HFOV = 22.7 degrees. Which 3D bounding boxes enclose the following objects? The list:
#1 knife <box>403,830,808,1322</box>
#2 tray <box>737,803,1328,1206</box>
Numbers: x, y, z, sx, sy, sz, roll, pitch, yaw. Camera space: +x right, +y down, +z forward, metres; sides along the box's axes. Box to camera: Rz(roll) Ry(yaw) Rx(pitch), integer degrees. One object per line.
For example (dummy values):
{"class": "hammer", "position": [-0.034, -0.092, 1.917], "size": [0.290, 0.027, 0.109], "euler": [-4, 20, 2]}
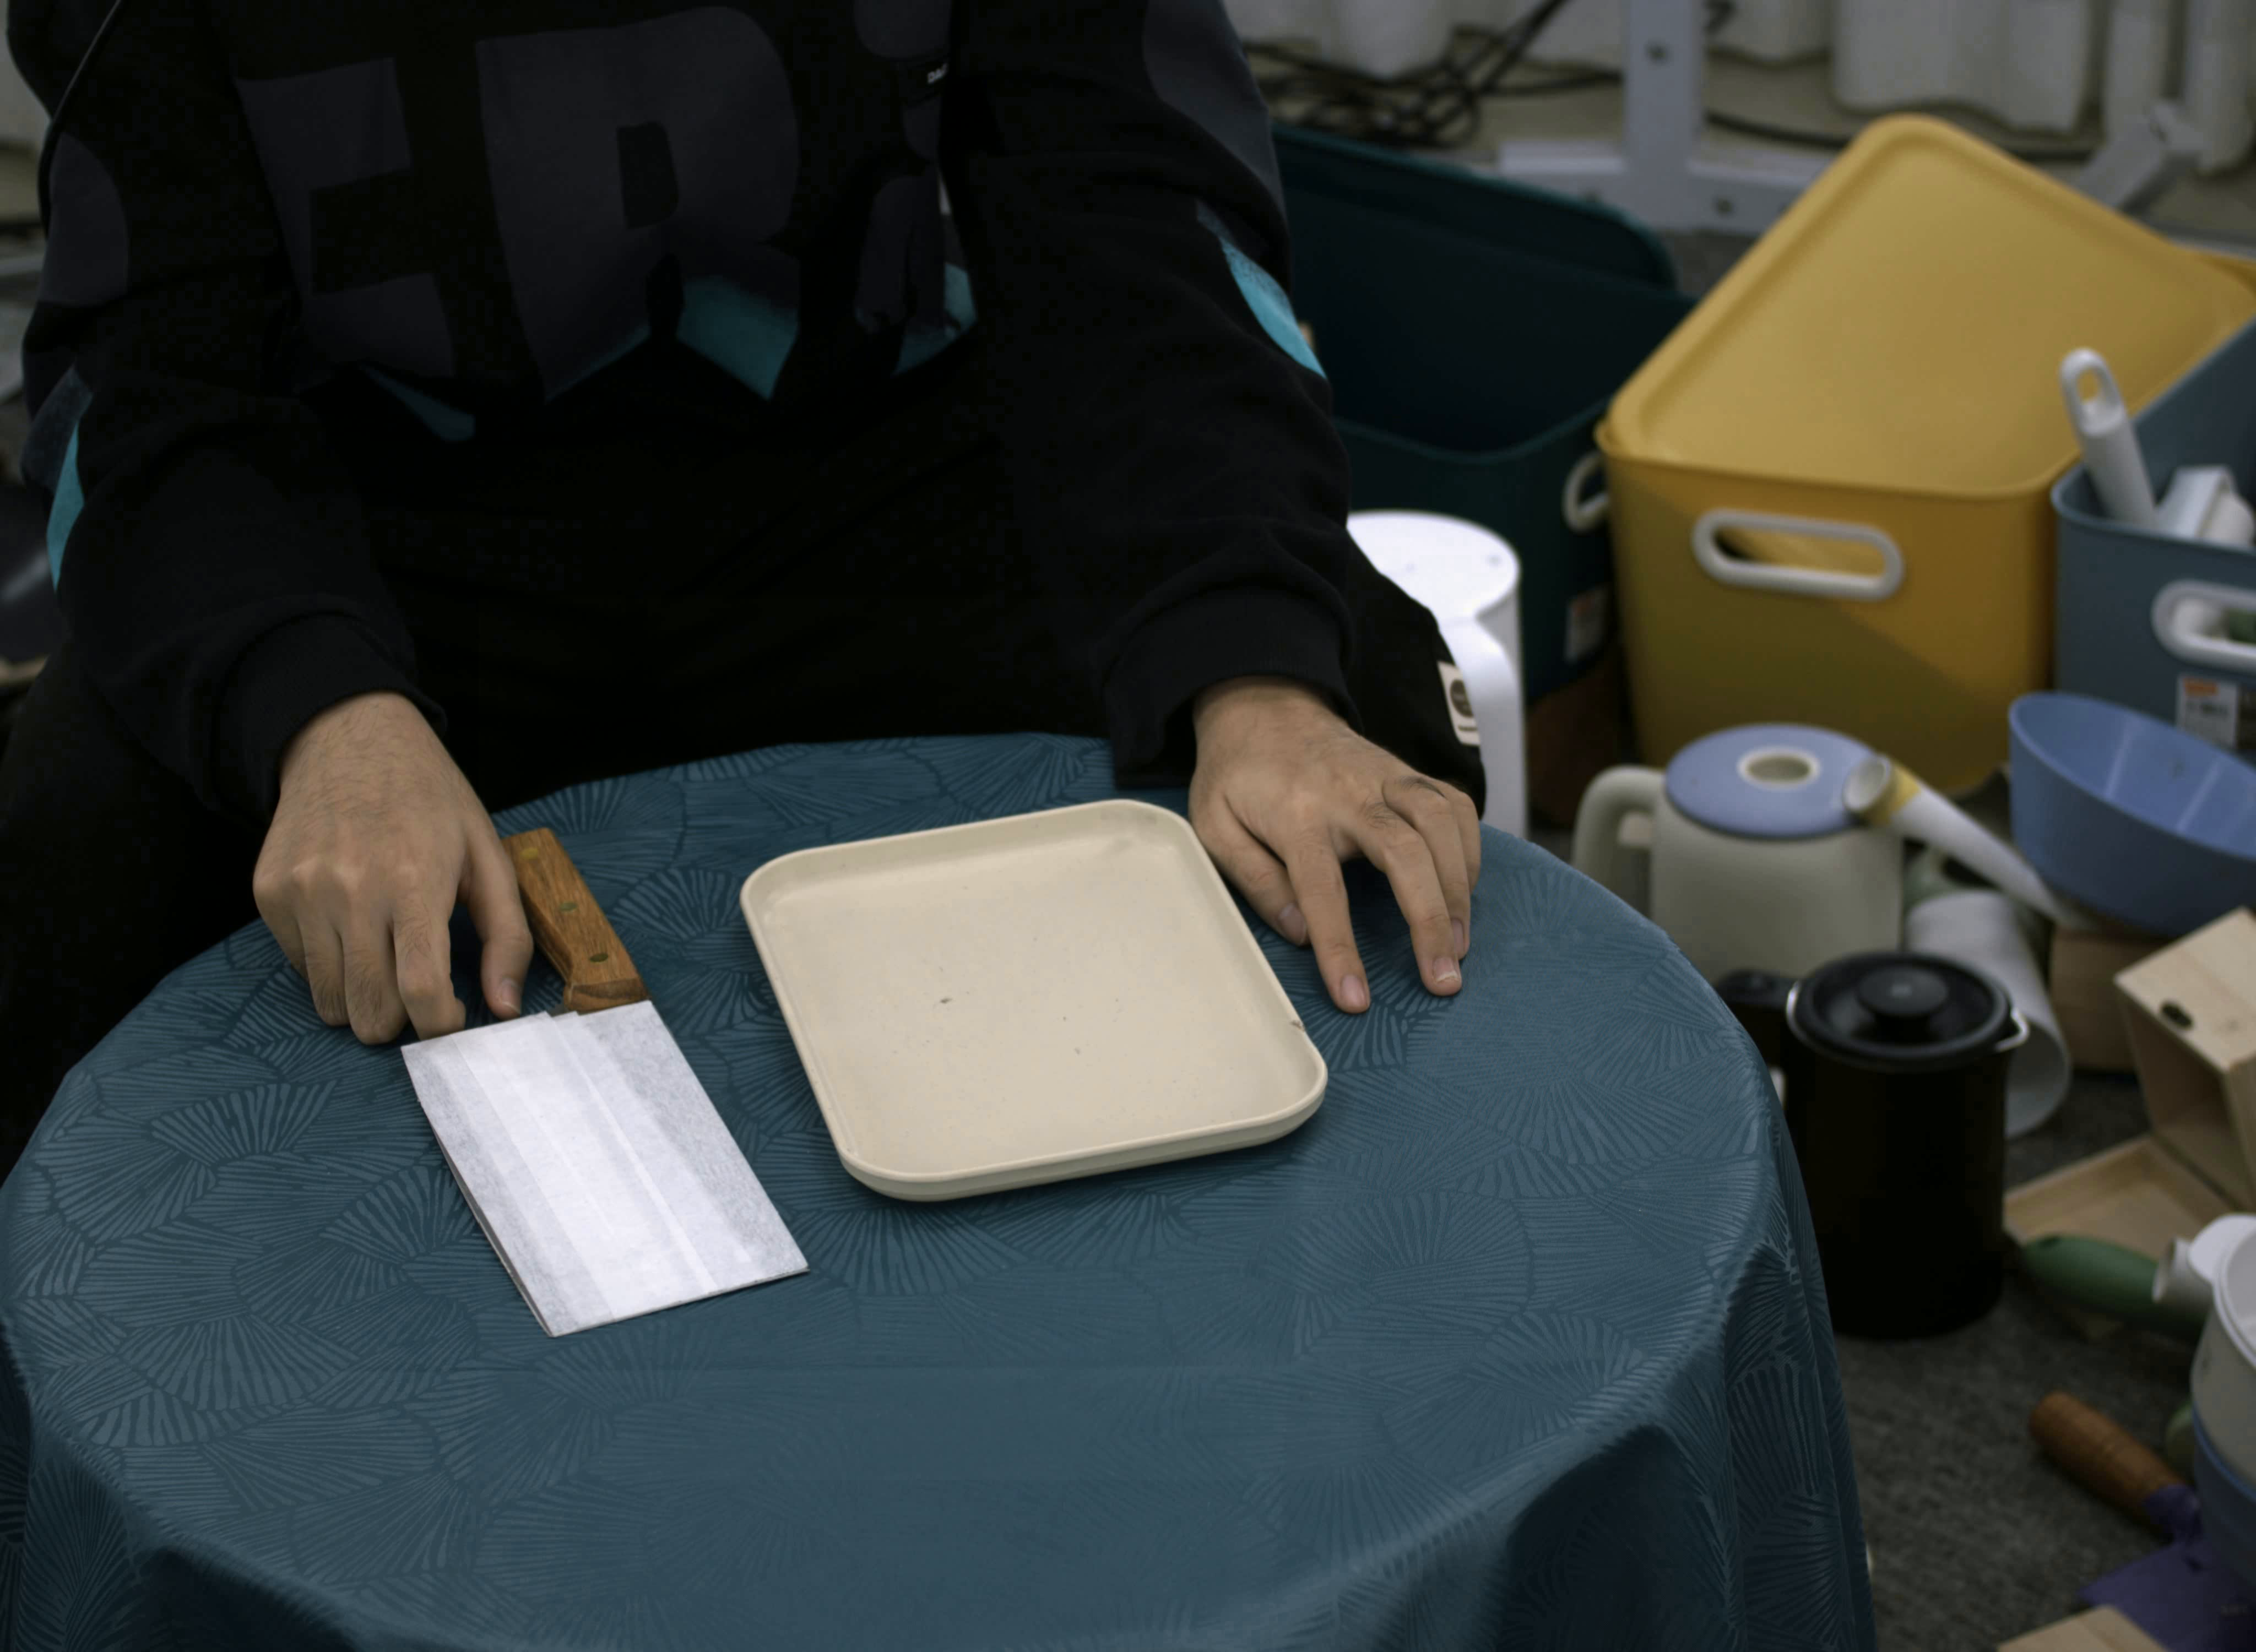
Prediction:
{"class": "knife", "position": [-0.197, 0.085, 1.936], "size": [0.093, 0.021, 0.308], "euler": [-14, 32, -16]}
{"class": "tray", "position": [-0.036, 0.061, 1.962], "size": [0.171, 0.017, 0.242], "euler": [-10, 28, -11]}
